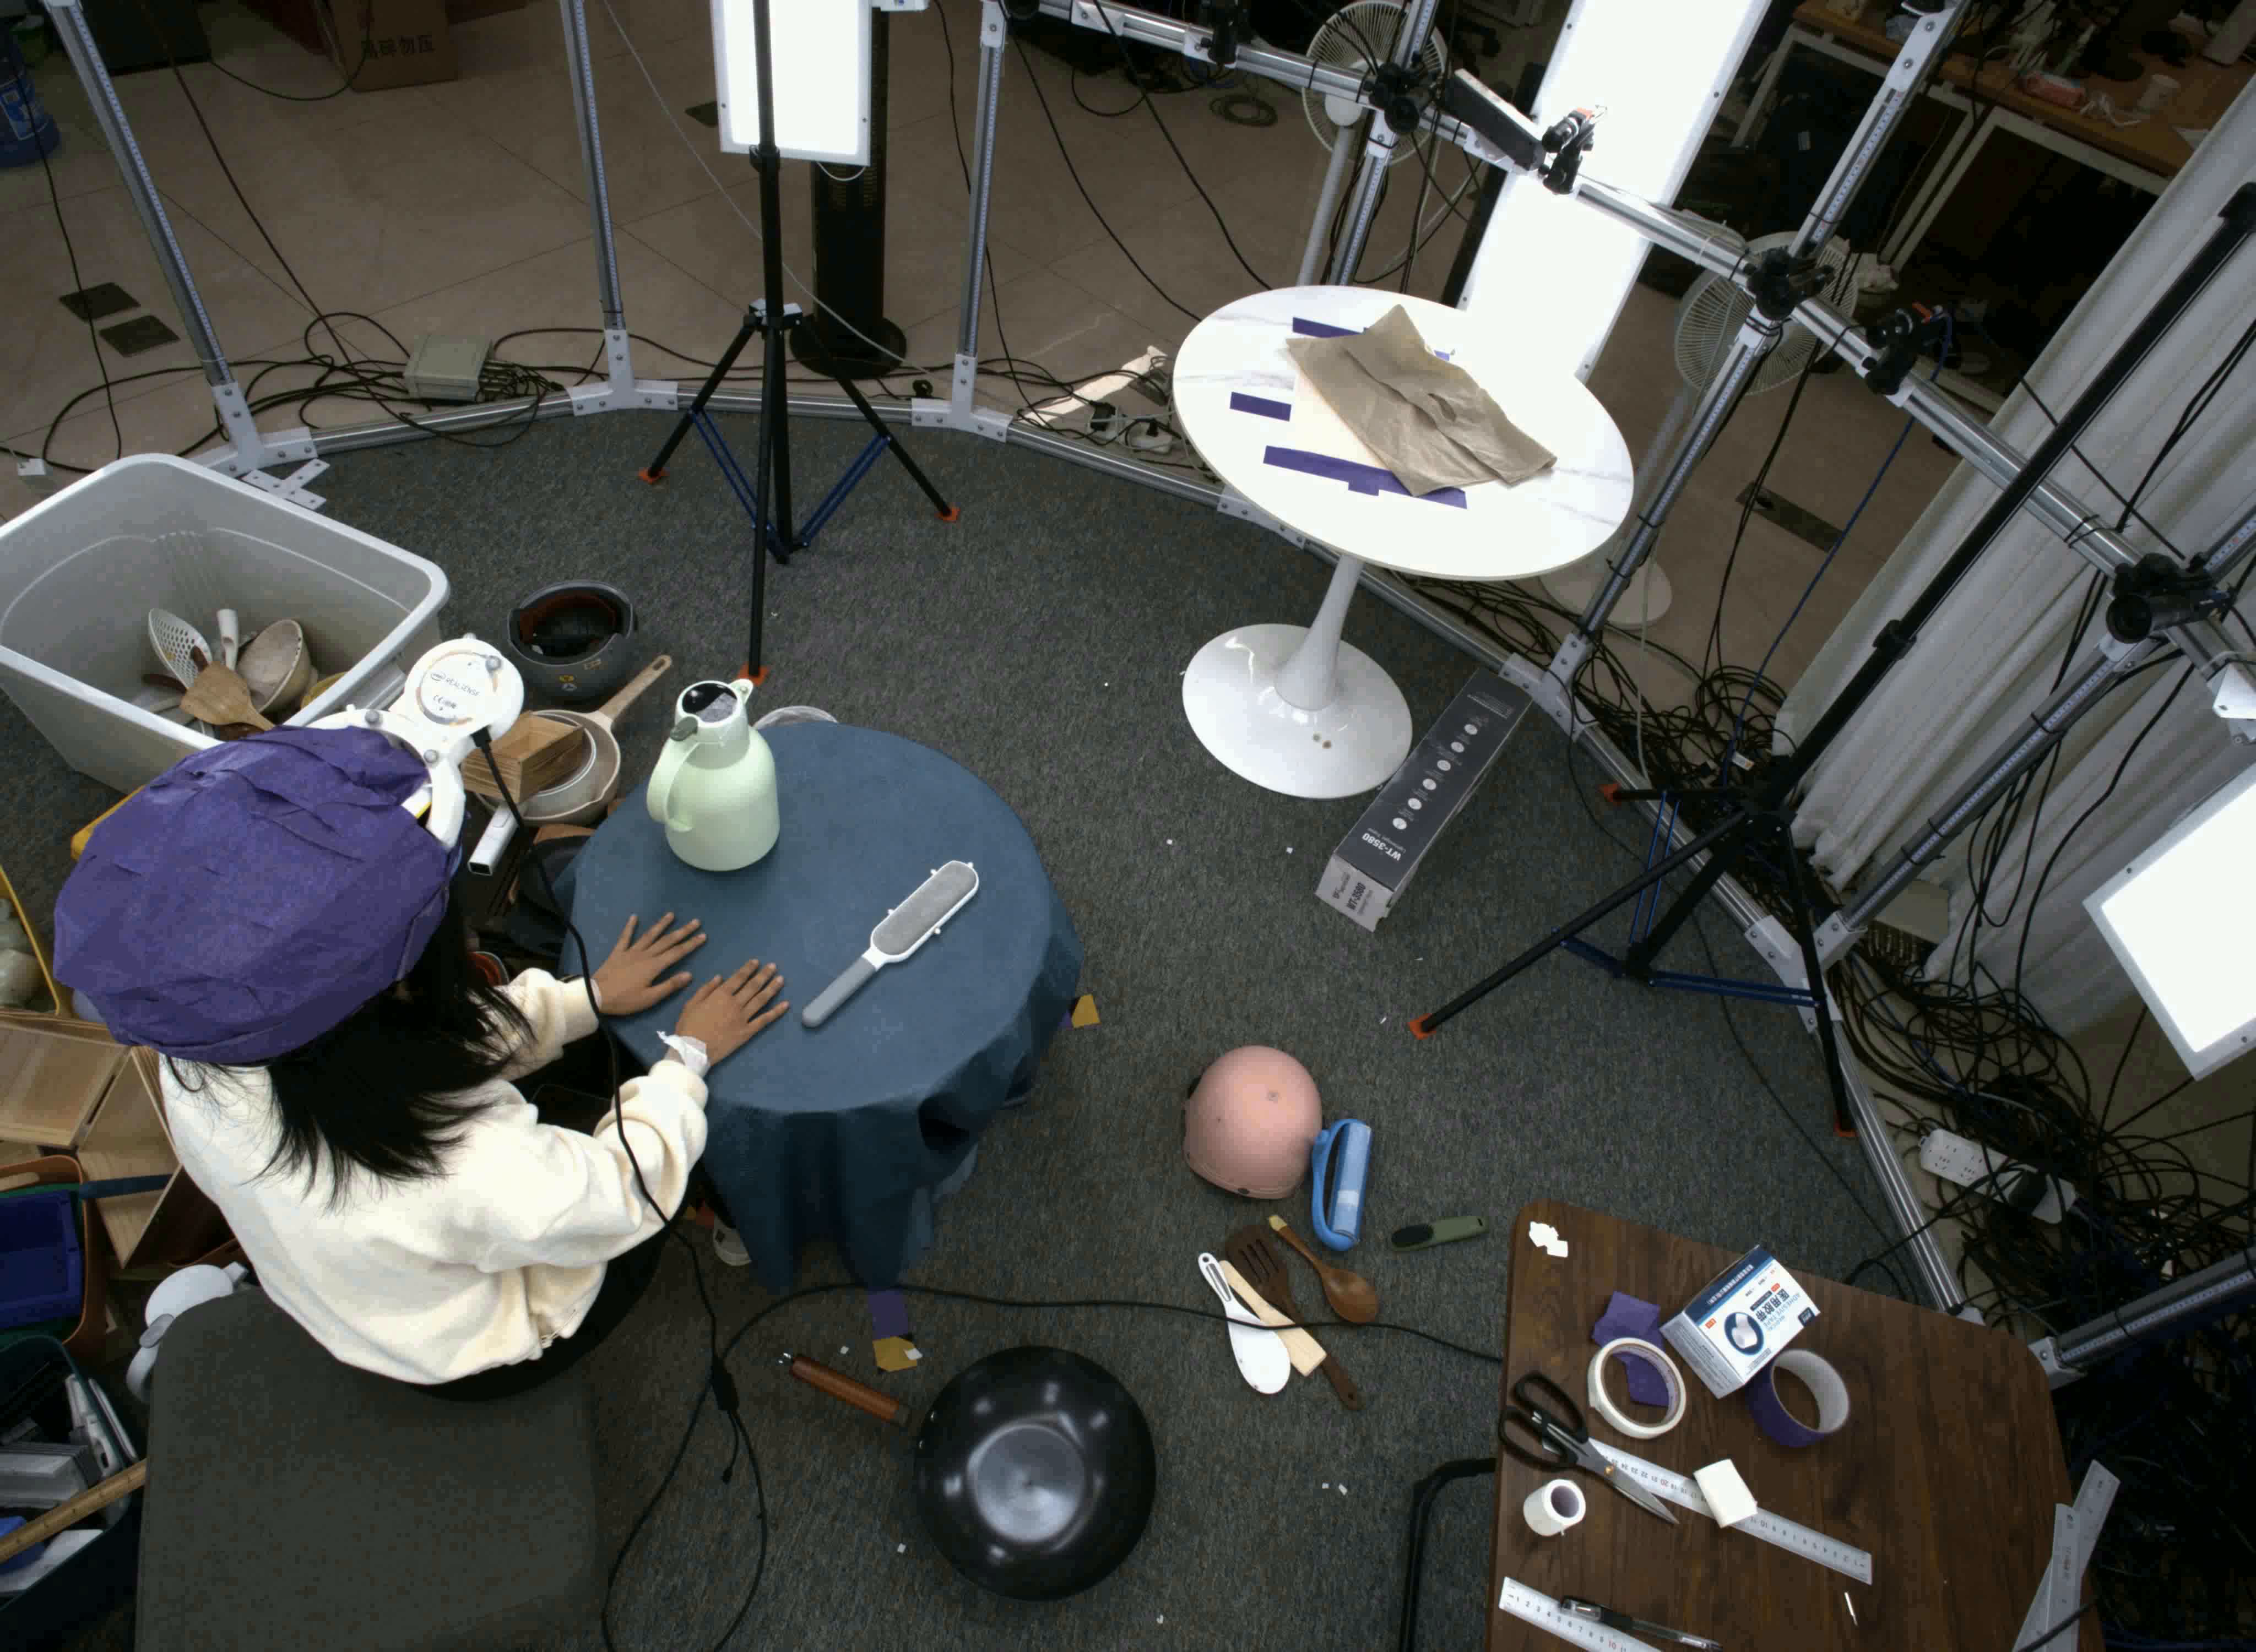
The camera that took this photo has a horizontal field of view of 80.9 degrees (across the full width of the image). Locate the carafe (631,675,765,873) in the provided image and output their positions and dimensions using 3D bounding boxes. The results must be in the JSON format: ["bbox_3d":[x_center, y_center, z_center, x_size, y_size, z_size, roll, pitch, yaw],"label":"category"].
[{"bbox_3d":[-0.532,-0.059,1.573,0.142,0.262,0.186,26,55,7],"label":"carafe"}]

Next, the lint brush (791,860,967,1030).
[{"bbox_3d":[-0.310,0.143,1.627,0.059,0.021,0.308,36,54,10],"label":"lint brush"}]
